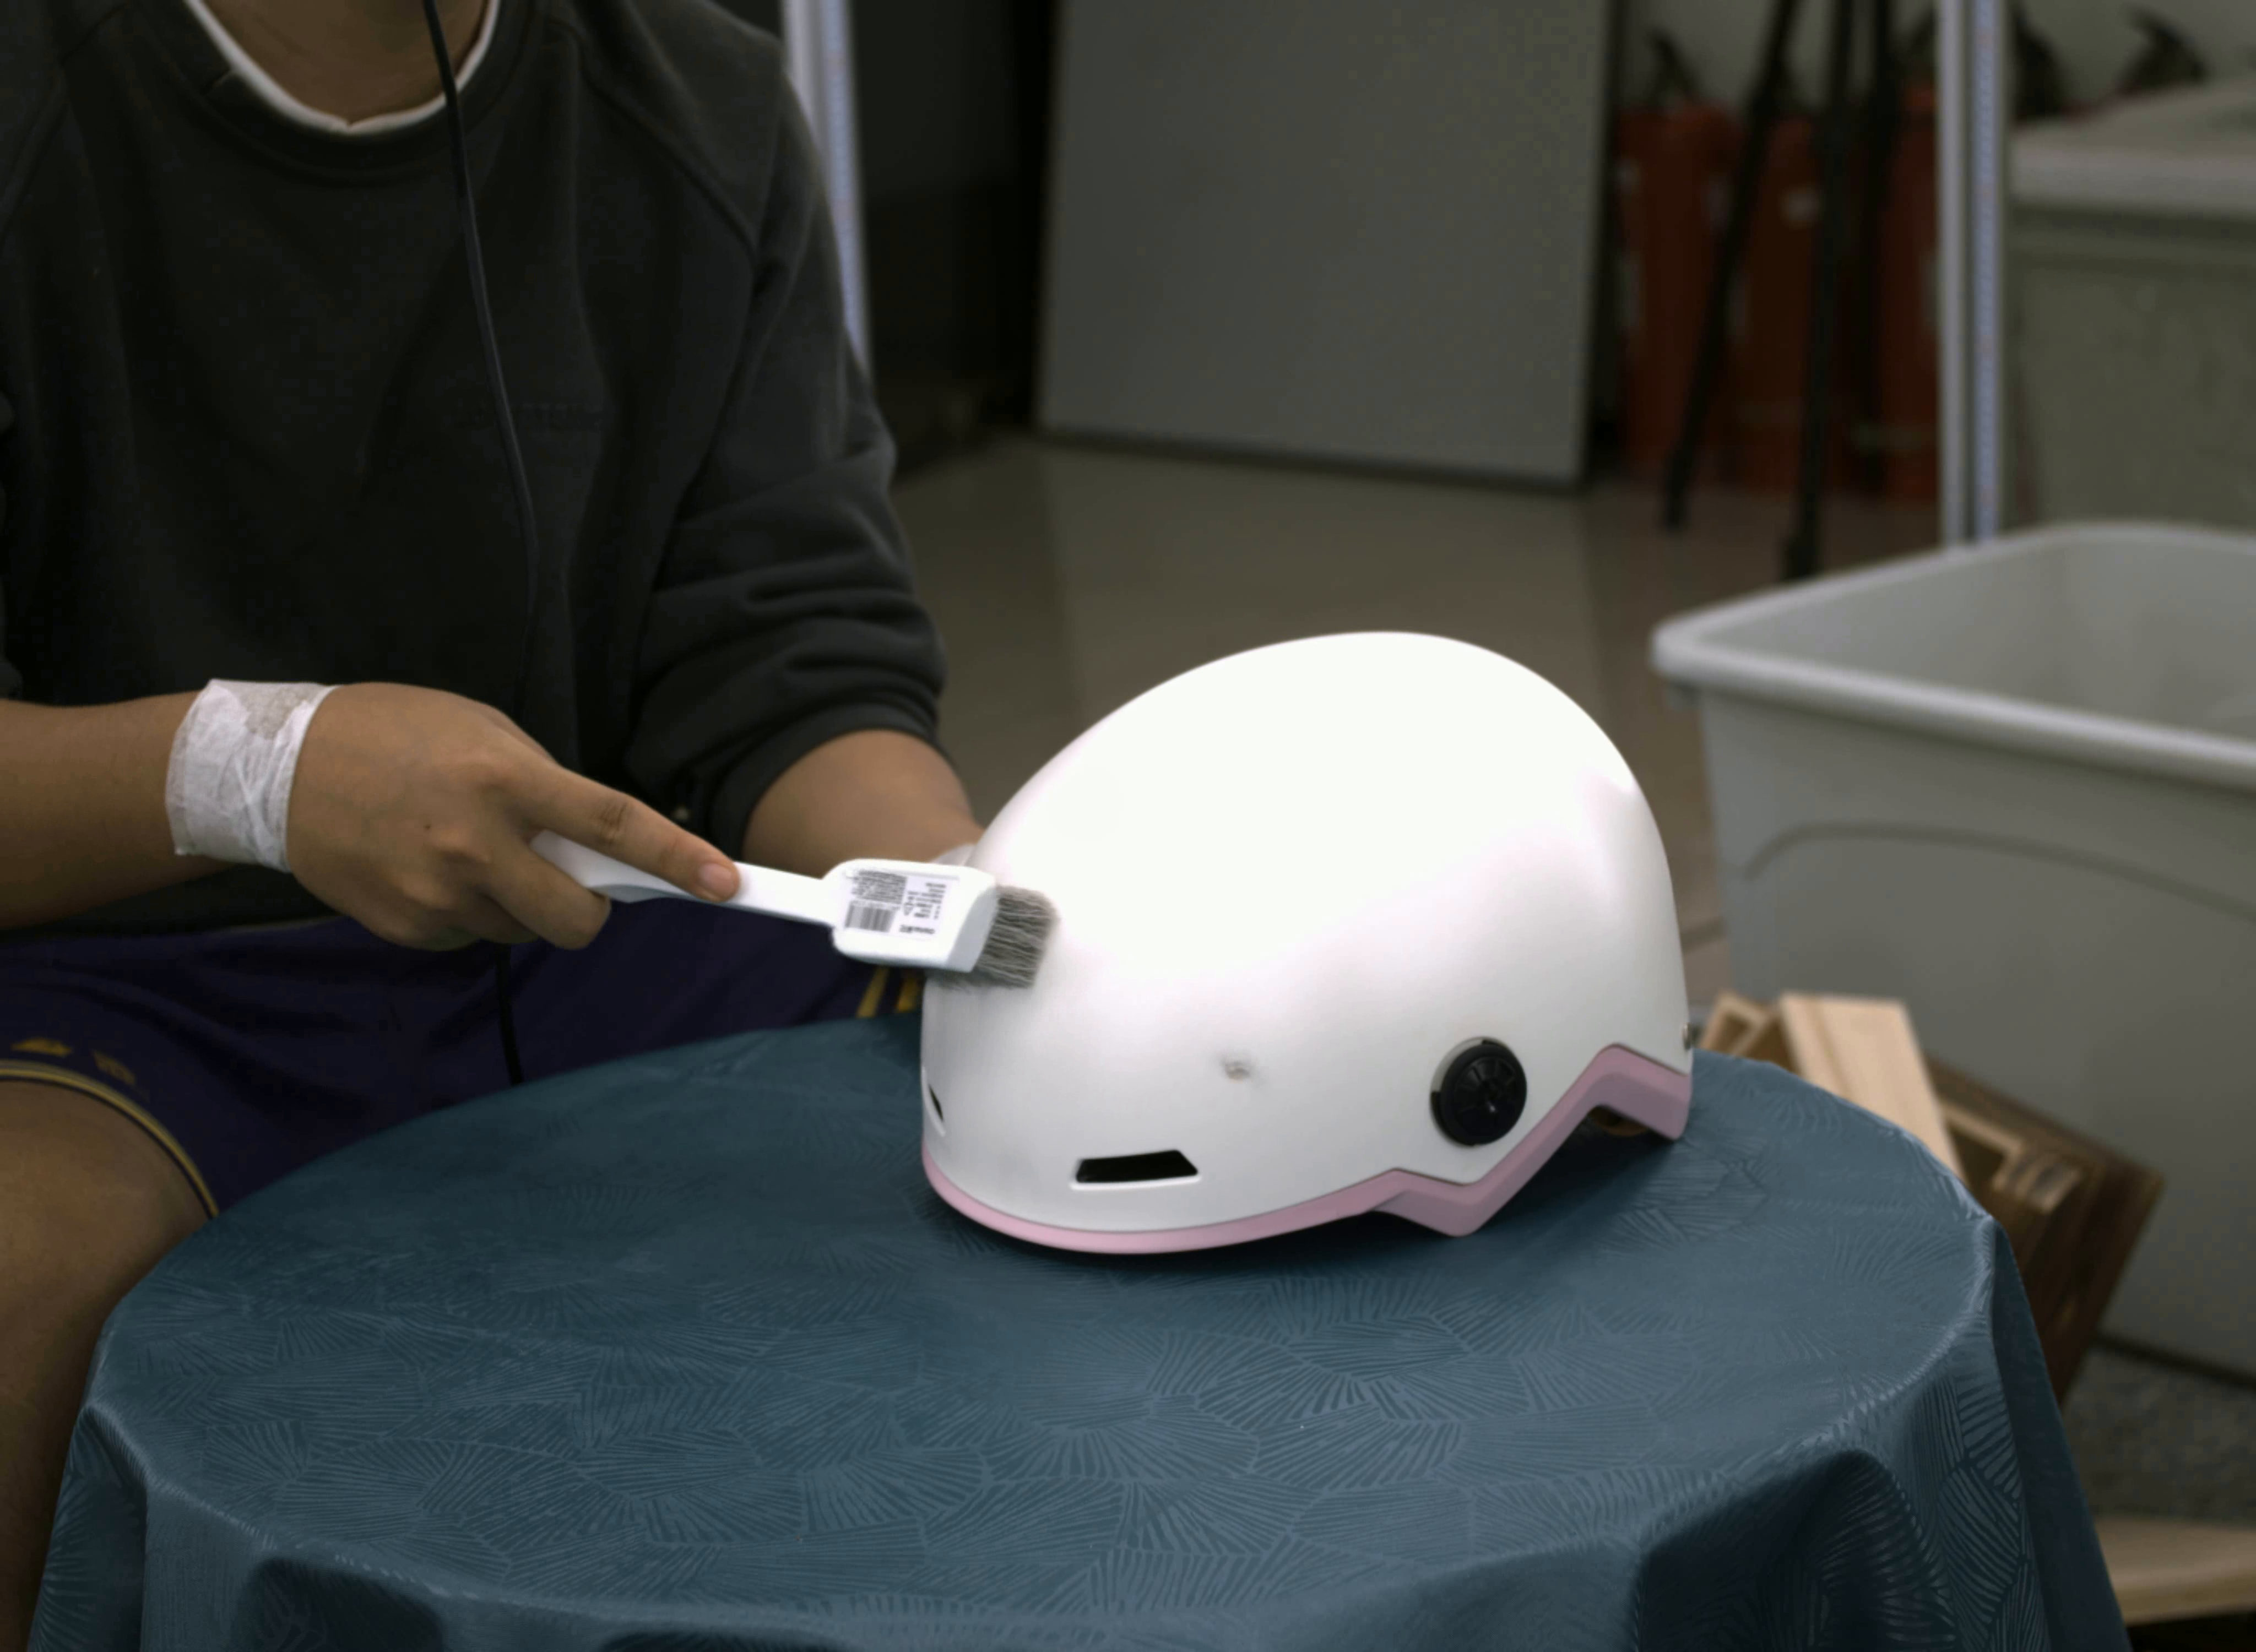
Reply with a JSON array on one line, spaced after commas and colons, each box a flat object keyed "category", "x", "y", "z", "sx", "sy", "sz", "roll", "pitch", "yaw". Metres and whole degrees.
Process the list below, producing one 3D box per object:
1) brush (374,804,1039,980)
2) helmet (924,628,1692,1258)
[{"category": "brush", "x": -0.137, "y": 0.020, "z": 1.750, "sx": 0.245, "sy": 0.035, "sz": 0.049, "roll": 6, "pitch": -12, "yaw": 31}, {"category": "helmet", "x": 0.058, "y": 0.027, "z": 1.772, "sx": 0.263, "sy": 0.169, "sz": 0.239, "roll": -13, "pitch": 20, "yaw": -35}]
